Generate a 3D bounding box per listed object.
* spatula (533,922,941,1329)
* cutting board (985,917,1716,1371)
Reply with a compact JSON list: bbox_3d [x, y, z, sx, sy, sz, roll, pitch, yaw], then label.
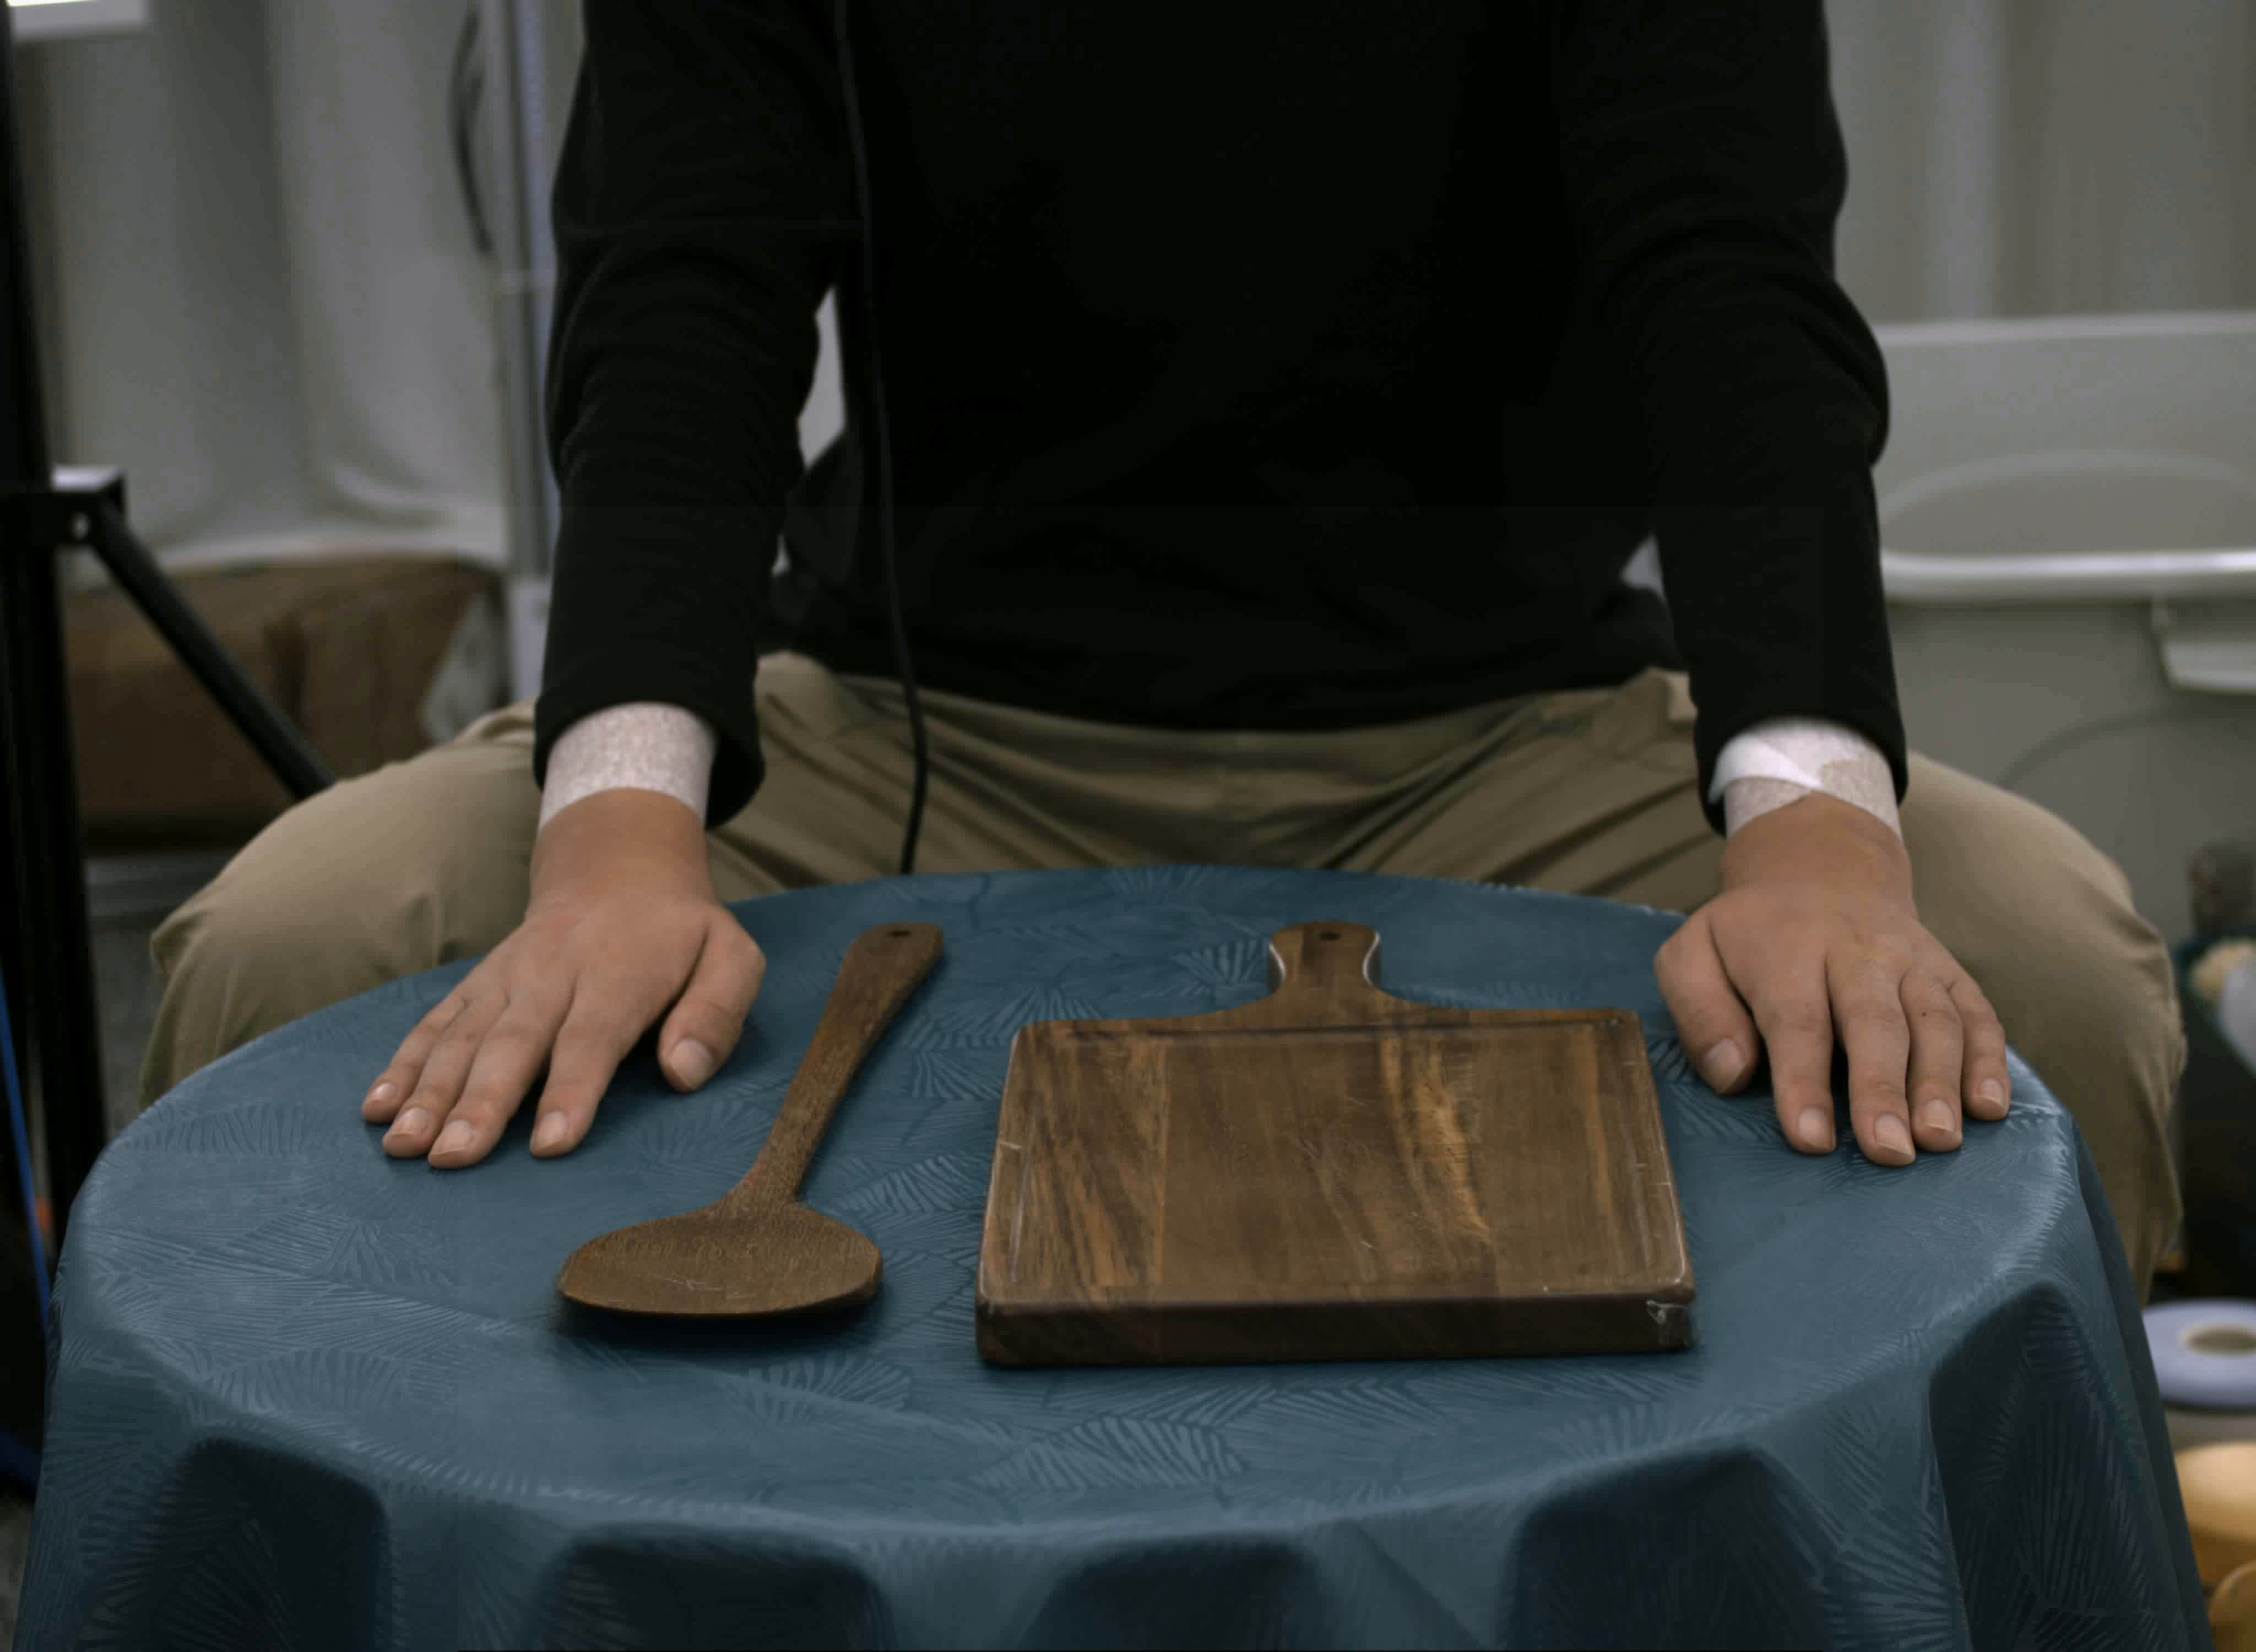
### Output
[{"bbox_3d":[-0.098,0.085,1.629,0.096,0.016,0.385,0,16,7],"label":"spatula"},{"bbox_3d":[0.061,0.088,1.582,0.200,0.023,0.353,-2,16,2],"label":"cutting board"}]
